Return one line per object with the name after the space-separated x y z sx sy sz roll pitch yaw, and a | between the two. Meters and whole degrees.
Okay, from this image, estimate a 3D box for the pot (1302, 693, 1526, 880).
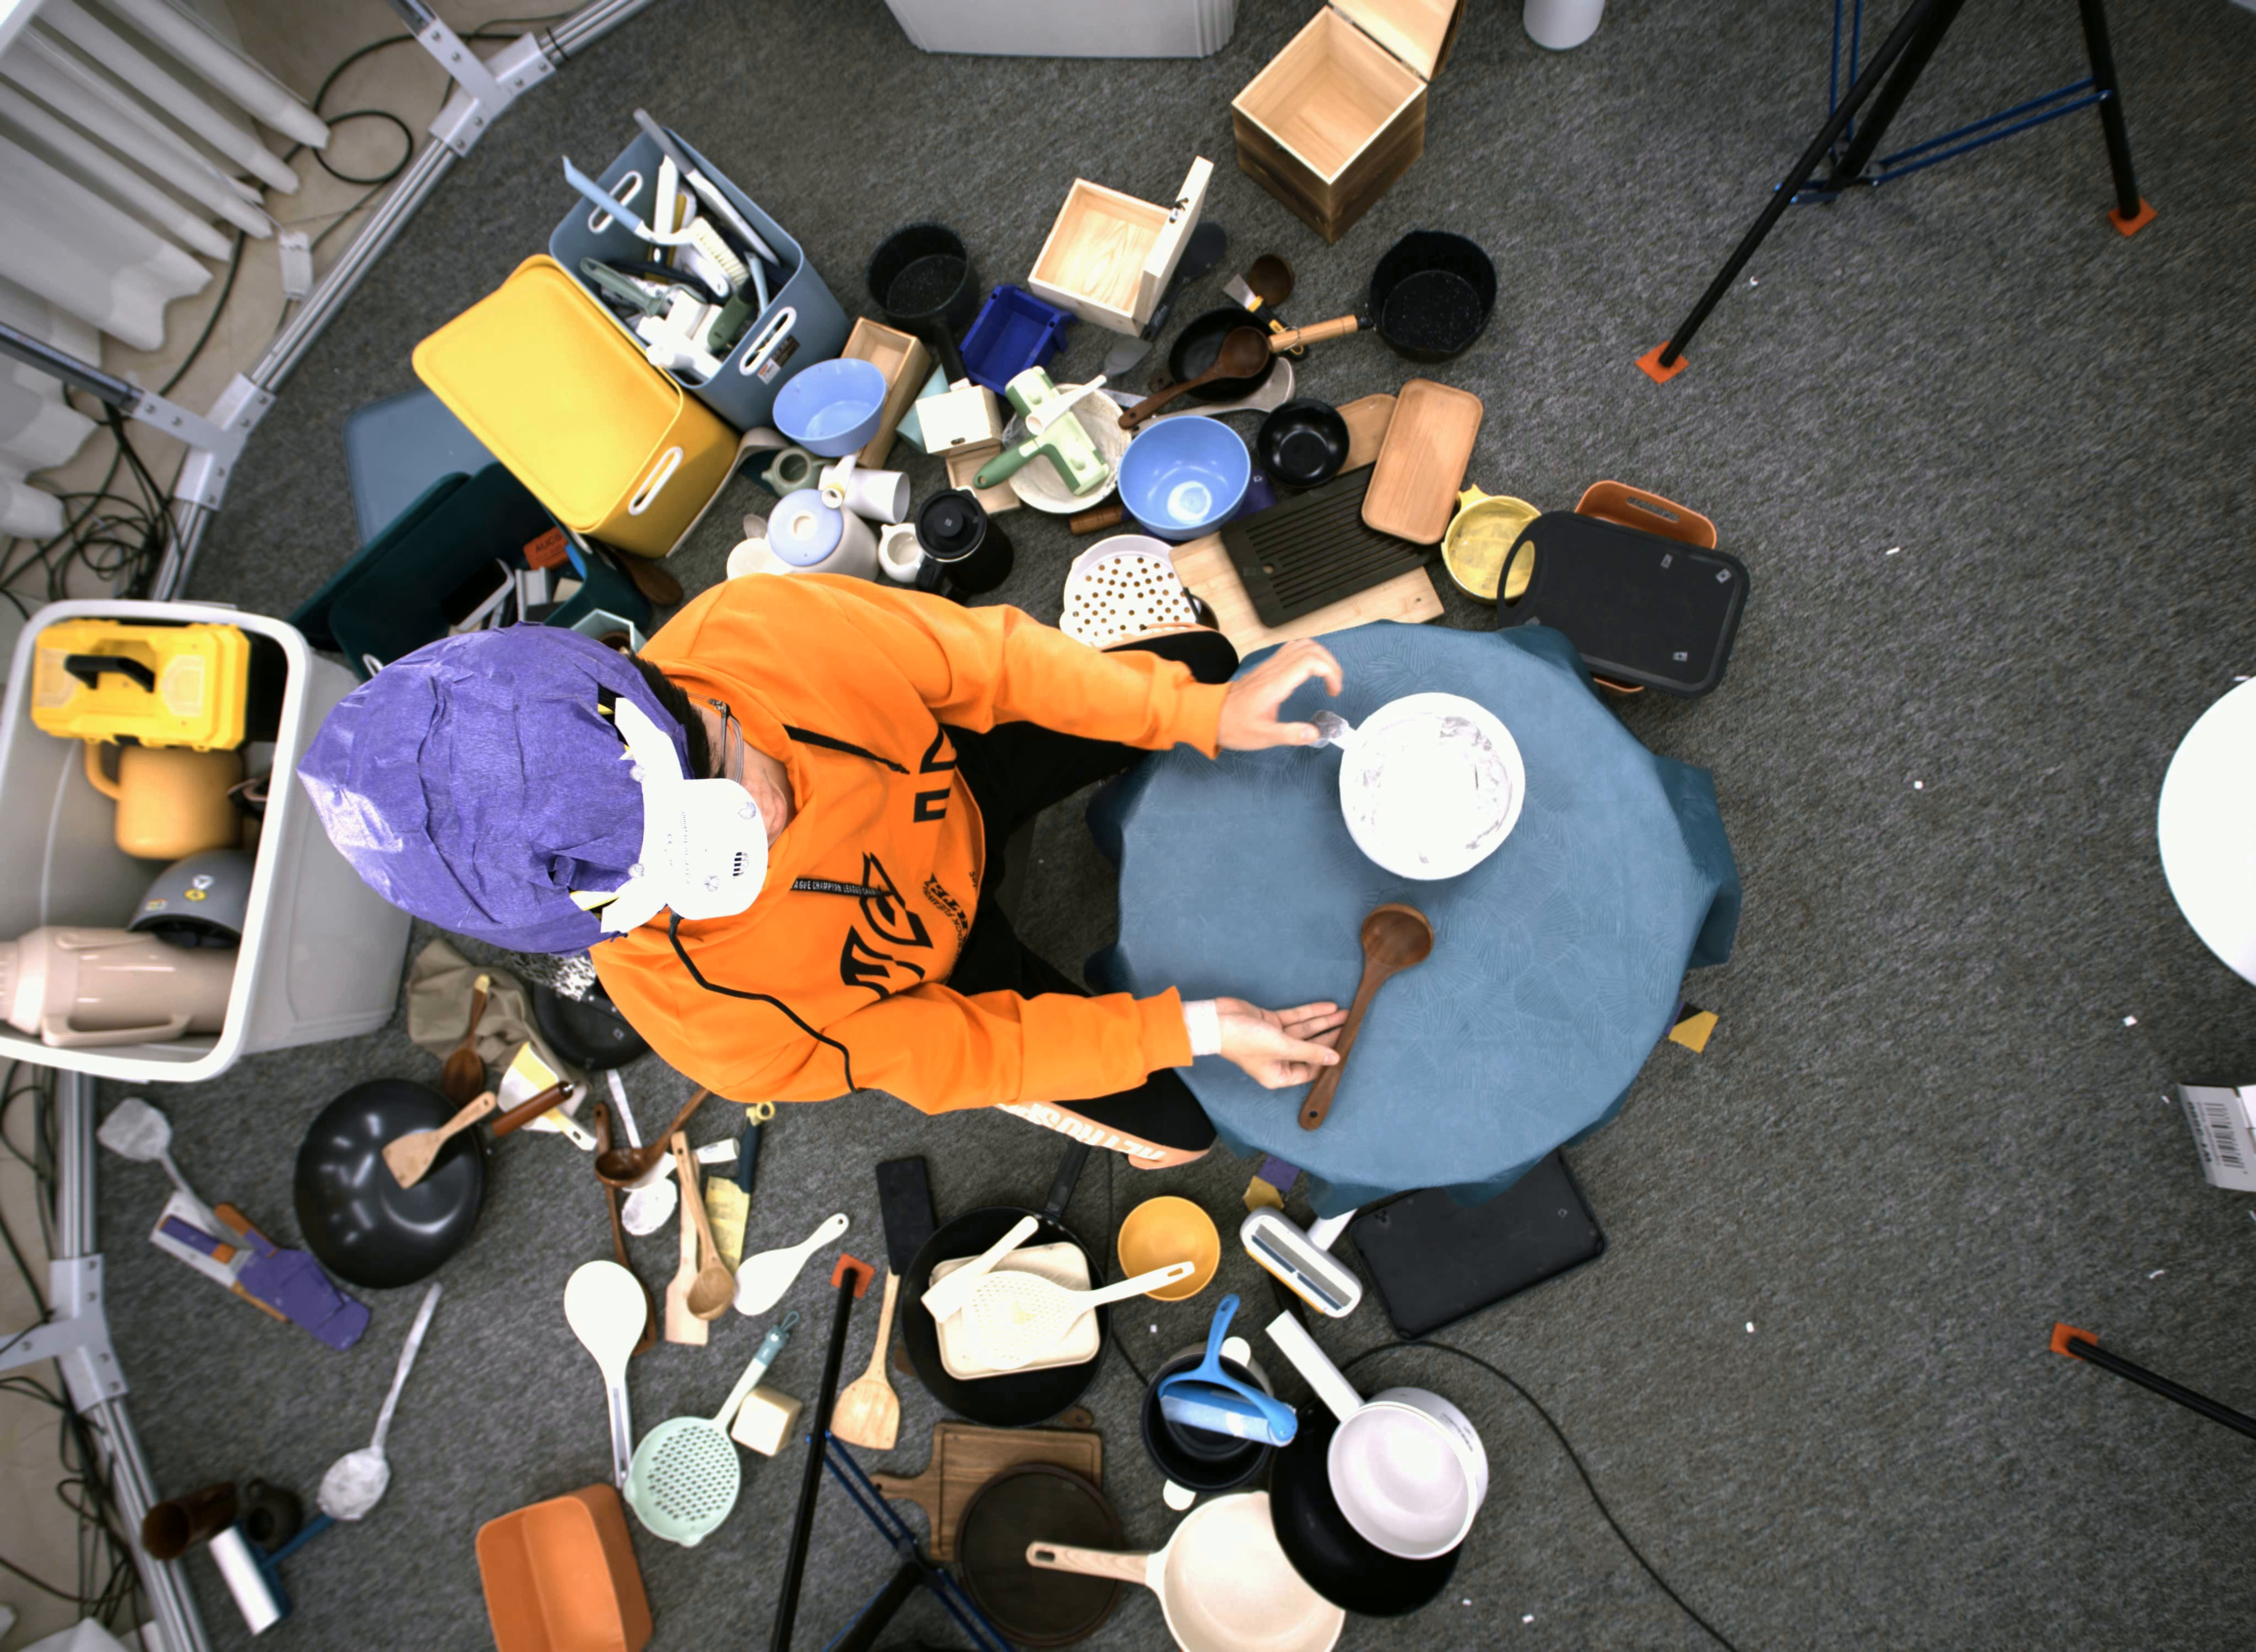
0.280 -0.051 1.395 0.233 0.137 0.179 30 91 11 | pot

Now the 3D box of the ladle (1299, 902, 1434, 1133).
0.236 0.198 1.426 0.076 0.065 0.260 26 91 12 | ladle
